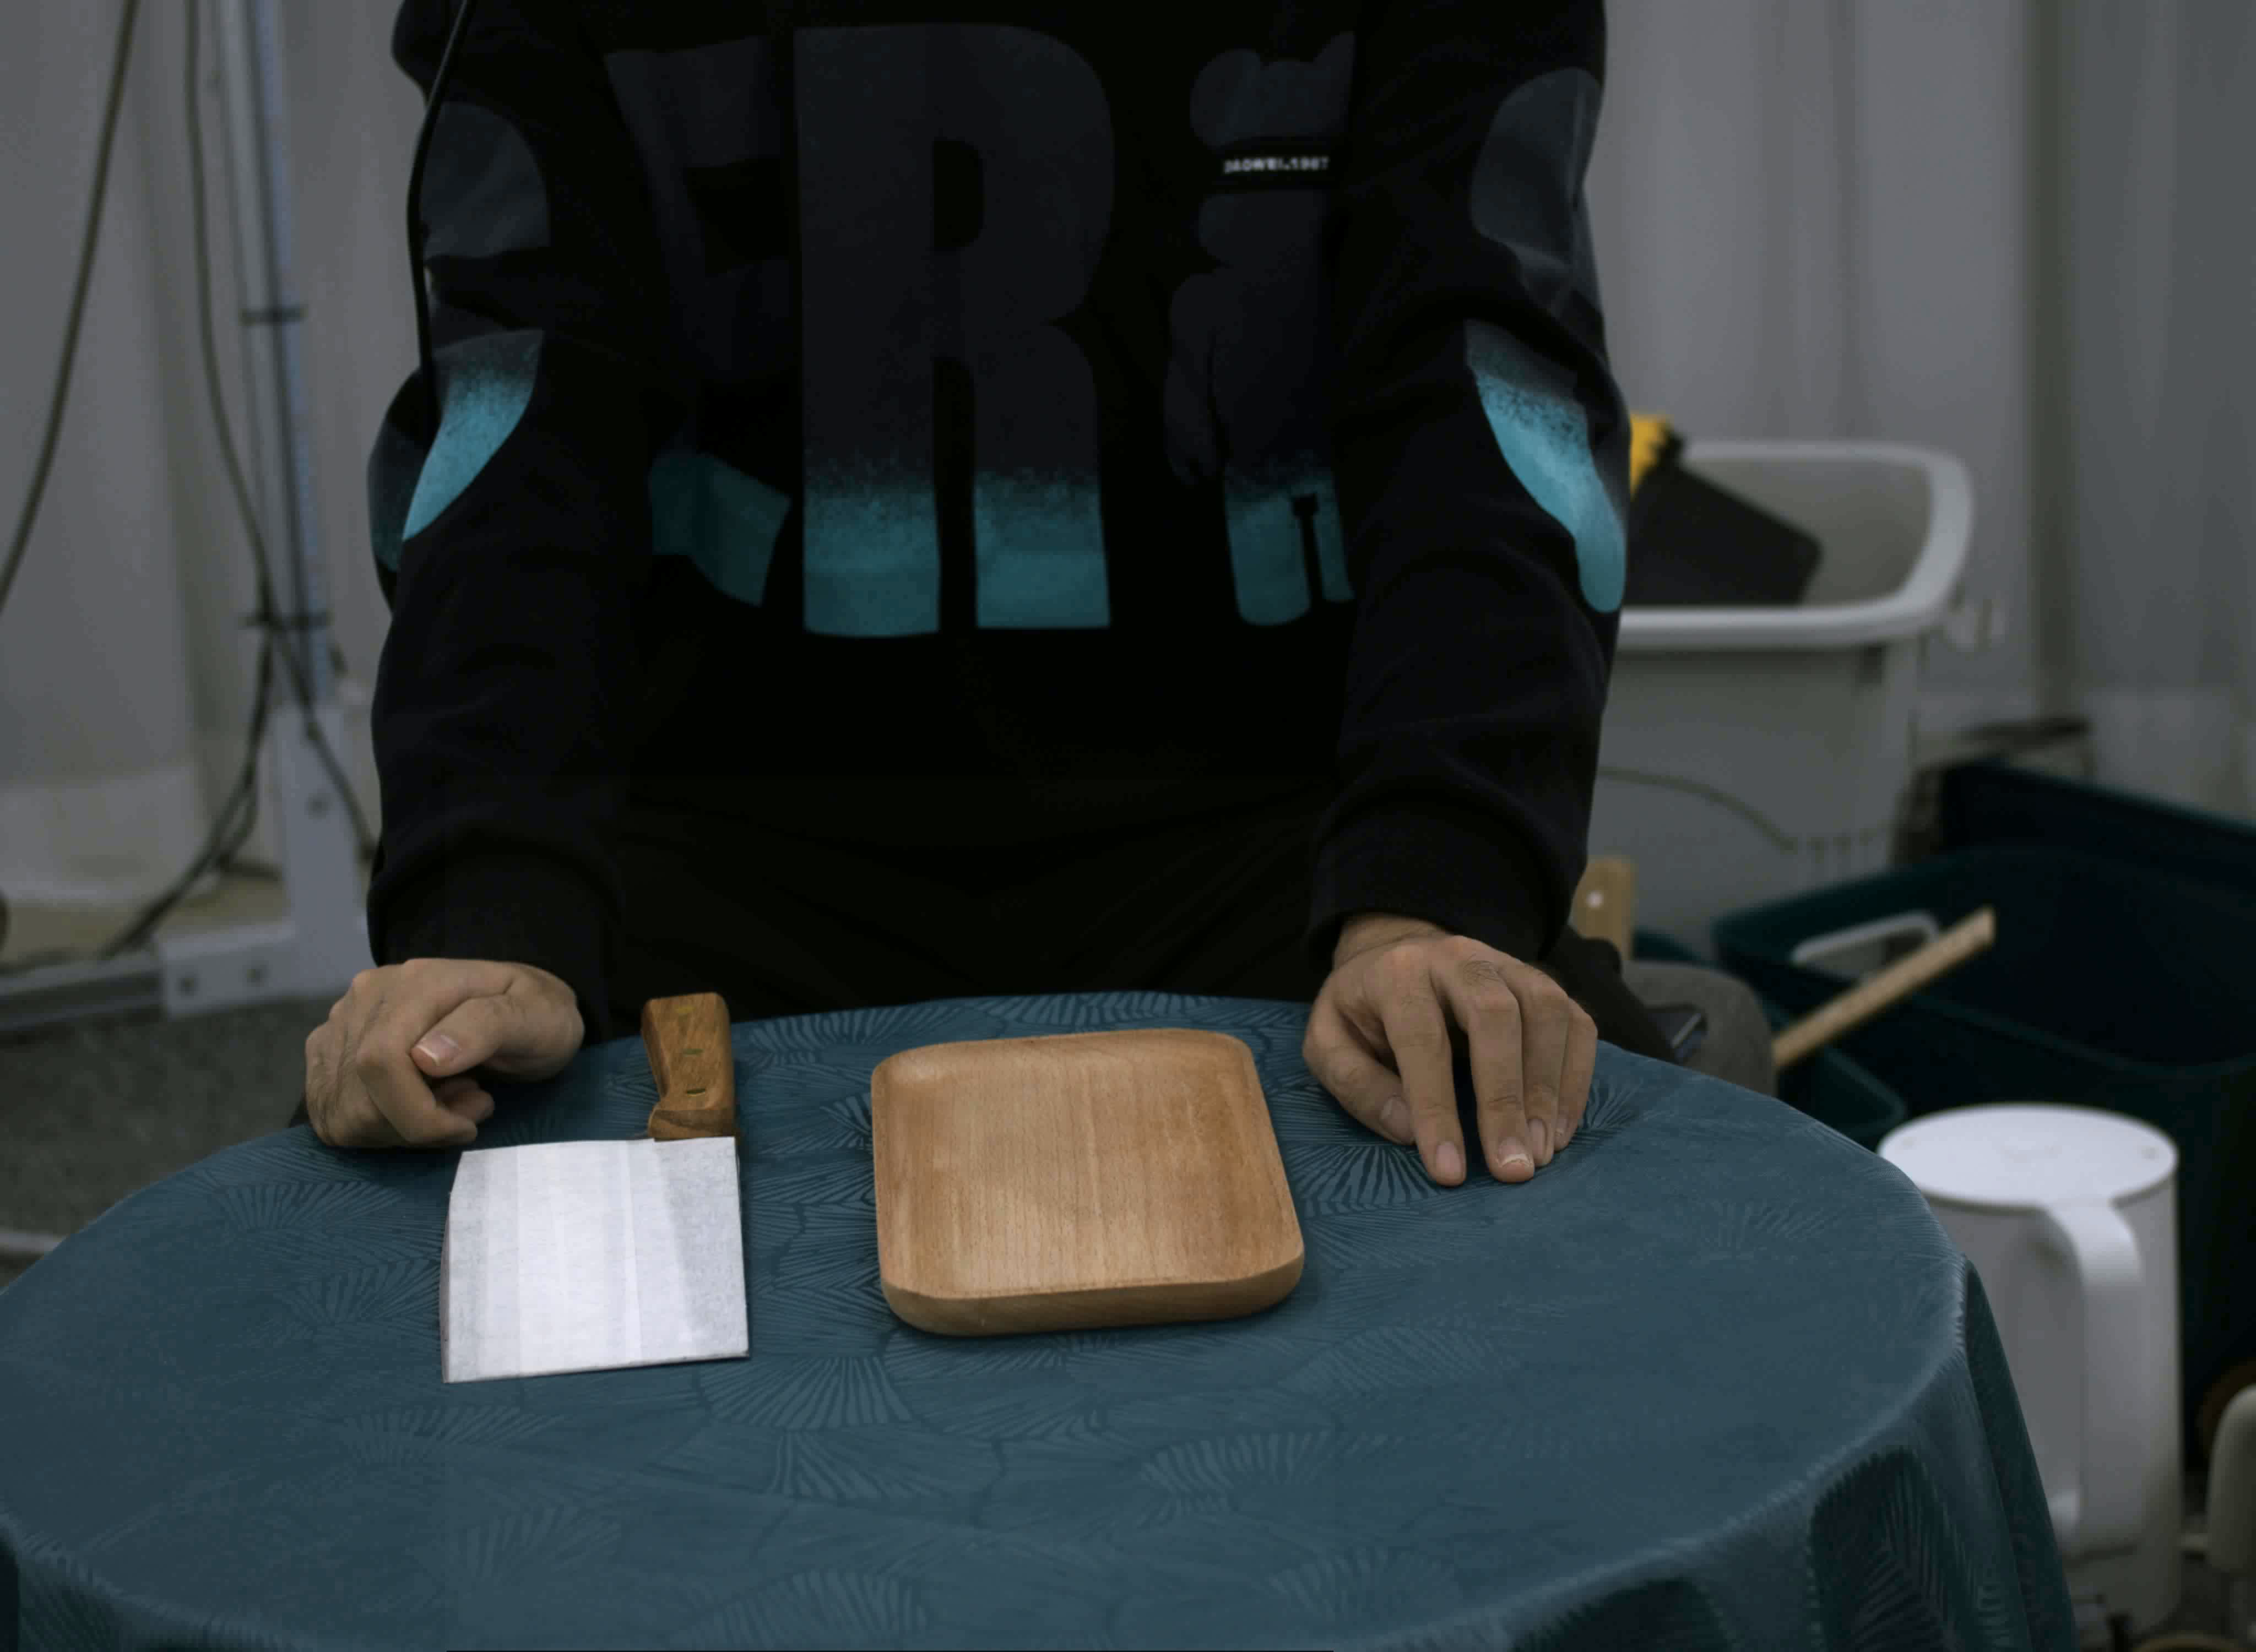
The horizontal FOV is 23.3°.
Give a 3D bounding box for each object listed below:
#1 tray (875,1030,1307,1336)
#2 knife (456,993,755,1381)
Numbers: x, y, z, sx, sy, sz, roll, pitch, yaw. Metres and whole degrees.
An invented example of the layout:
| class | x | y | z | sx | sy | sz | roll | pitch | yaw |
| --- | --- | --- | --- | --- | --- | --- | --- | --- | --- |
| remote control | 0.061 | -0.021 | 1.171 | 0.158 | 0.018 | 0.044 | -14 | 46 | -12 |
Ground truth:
| class | x | y | z | sx | sy | sz | roll | pitch | yaw |
| --- | --- | --- | --- | --- | --- | --- | --- | --- | --- |
| tray | -0.015 | 0.109 | 1.709 | 0.130 | 0.023 | 0.252 | -1 | 14 | -1 |
| knife | -0.166 | 0.113 | 1.727 | 0.092 | 0.021 | 0.308 | -6 | 17 | -4 |
